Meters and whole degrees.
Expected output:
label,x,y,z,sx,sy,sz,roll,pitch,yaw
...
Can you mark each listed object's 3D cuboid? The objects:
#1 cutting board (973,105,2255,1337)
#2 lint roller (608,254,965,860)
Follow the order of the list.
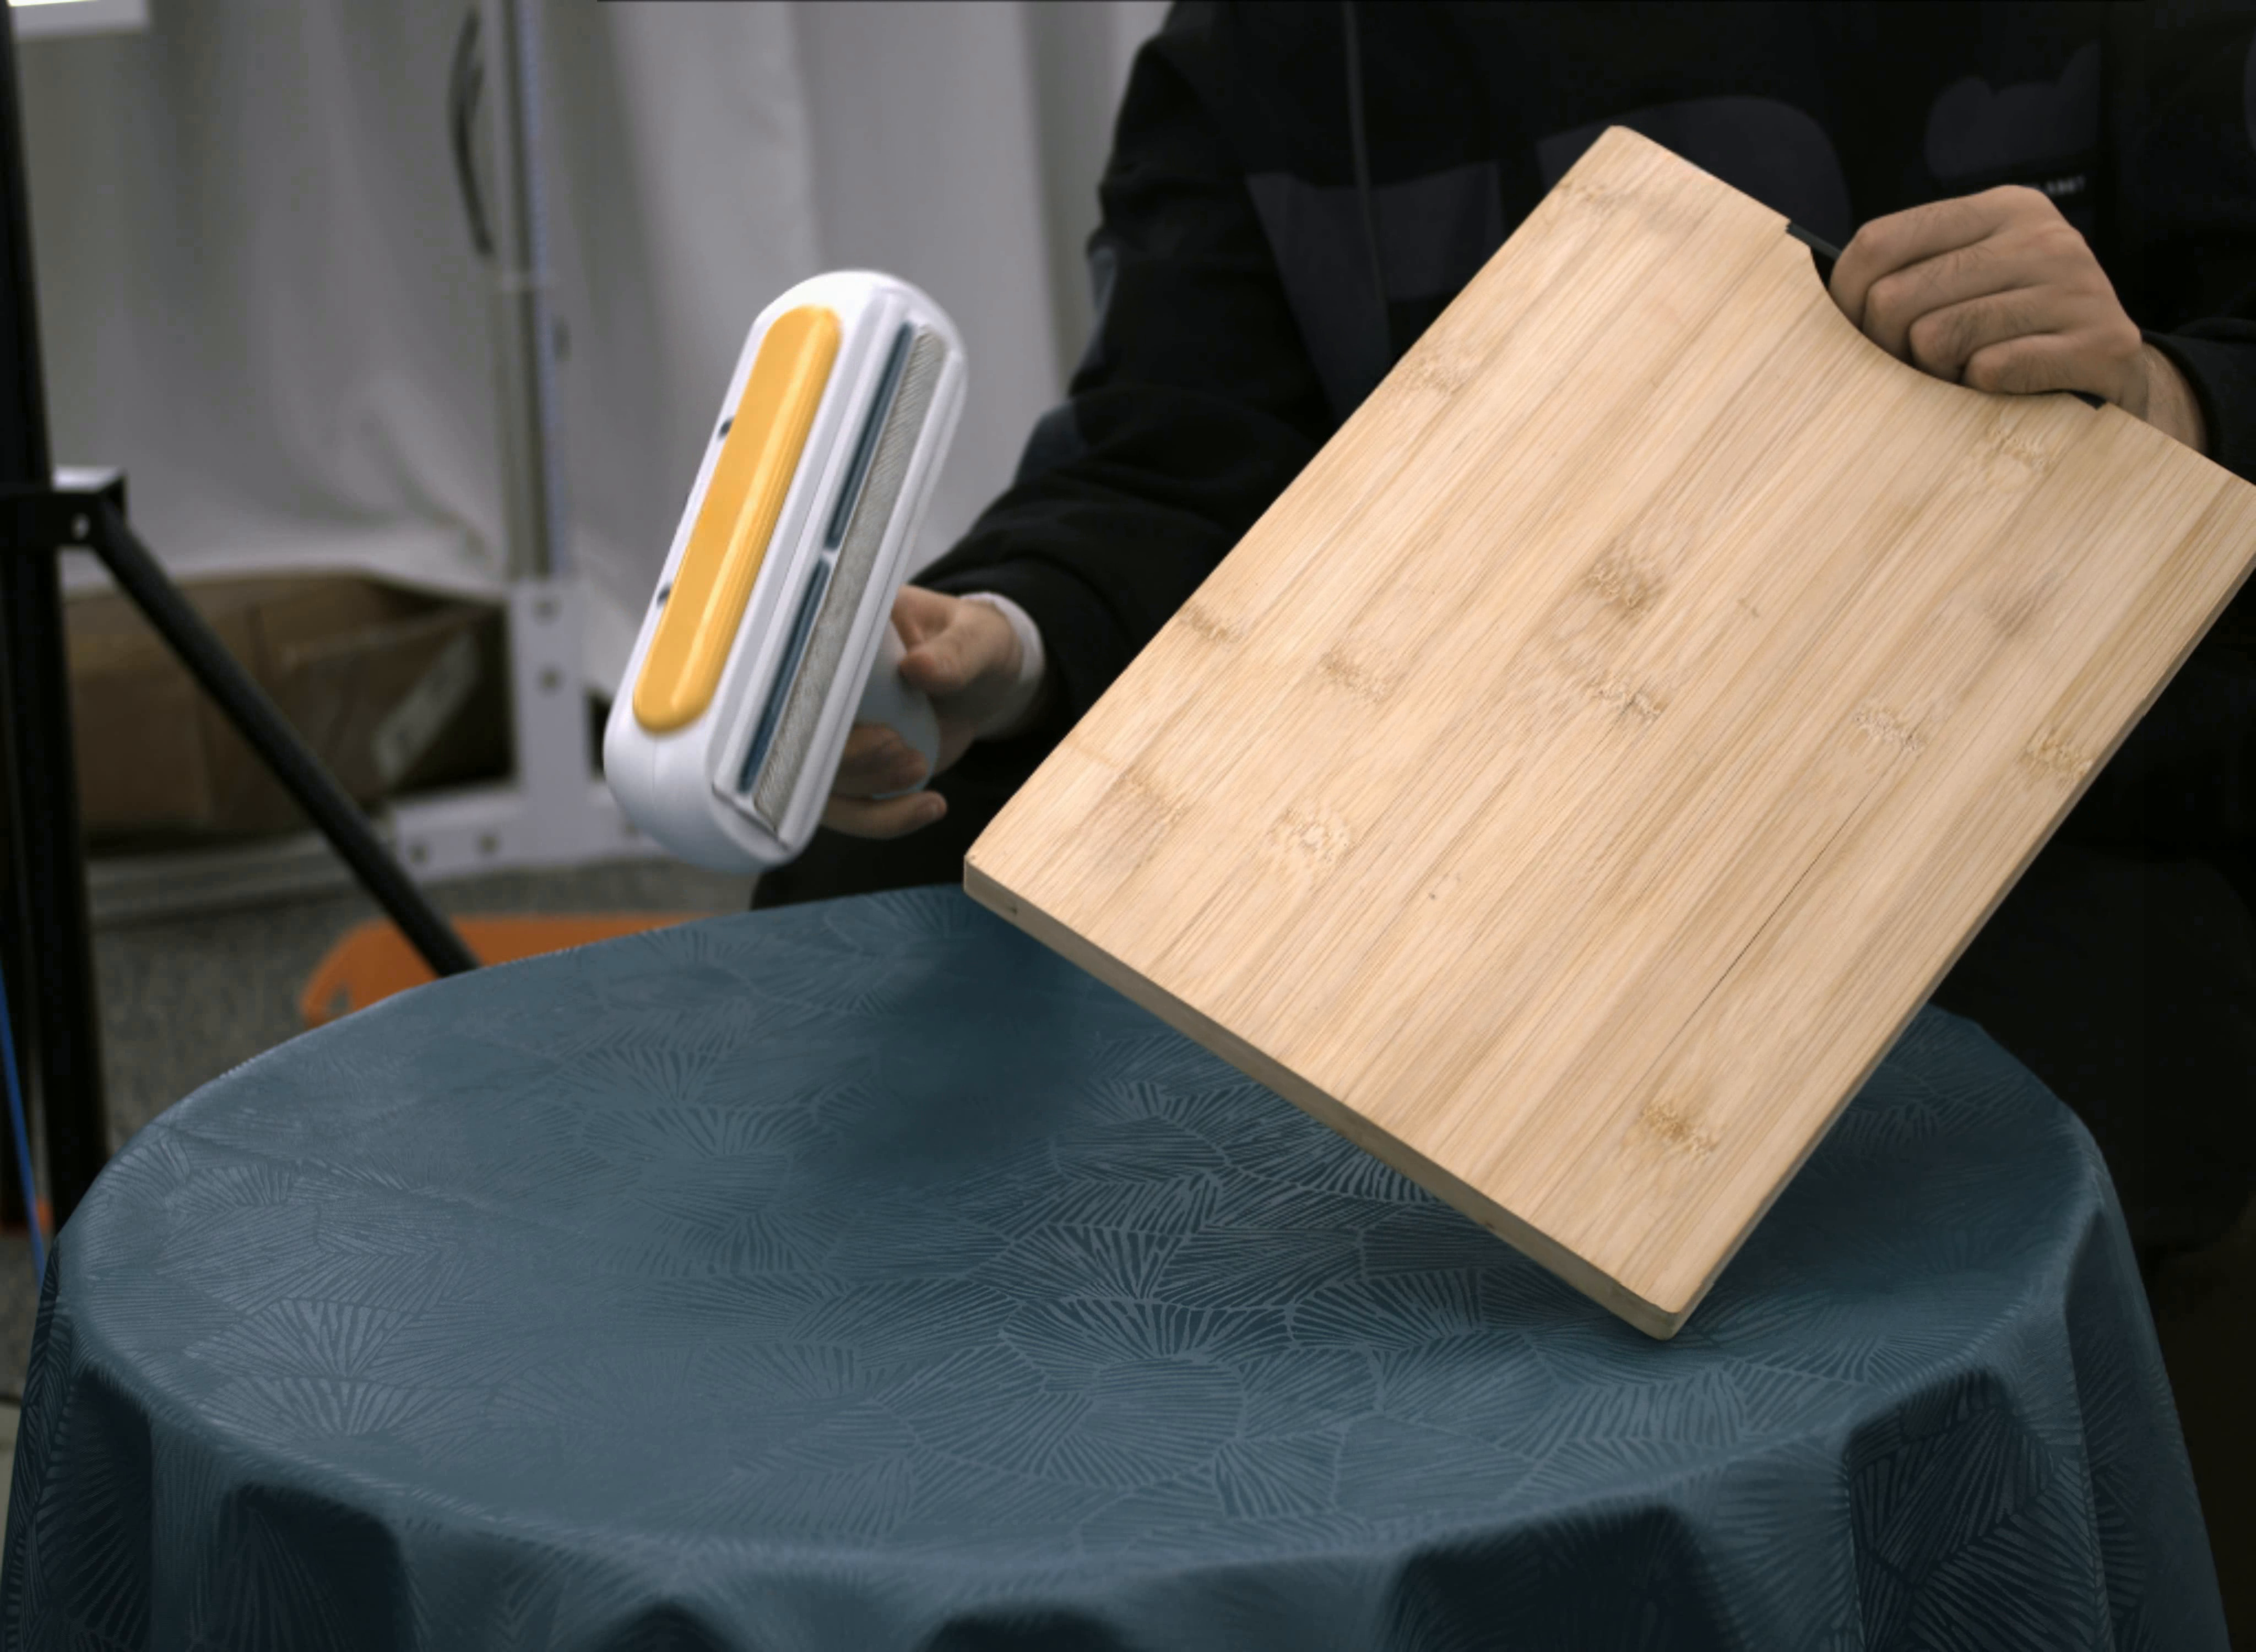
label,x,y,z,sx,sy,sz,roll,pitch,yaw
cutting board,0.152,-0.041,1.531,0.254,0.023,0.346,32,62,18
lint roller,-0.088,-0.055,1.670,0.075,0.194,0.188,1,-27,26
